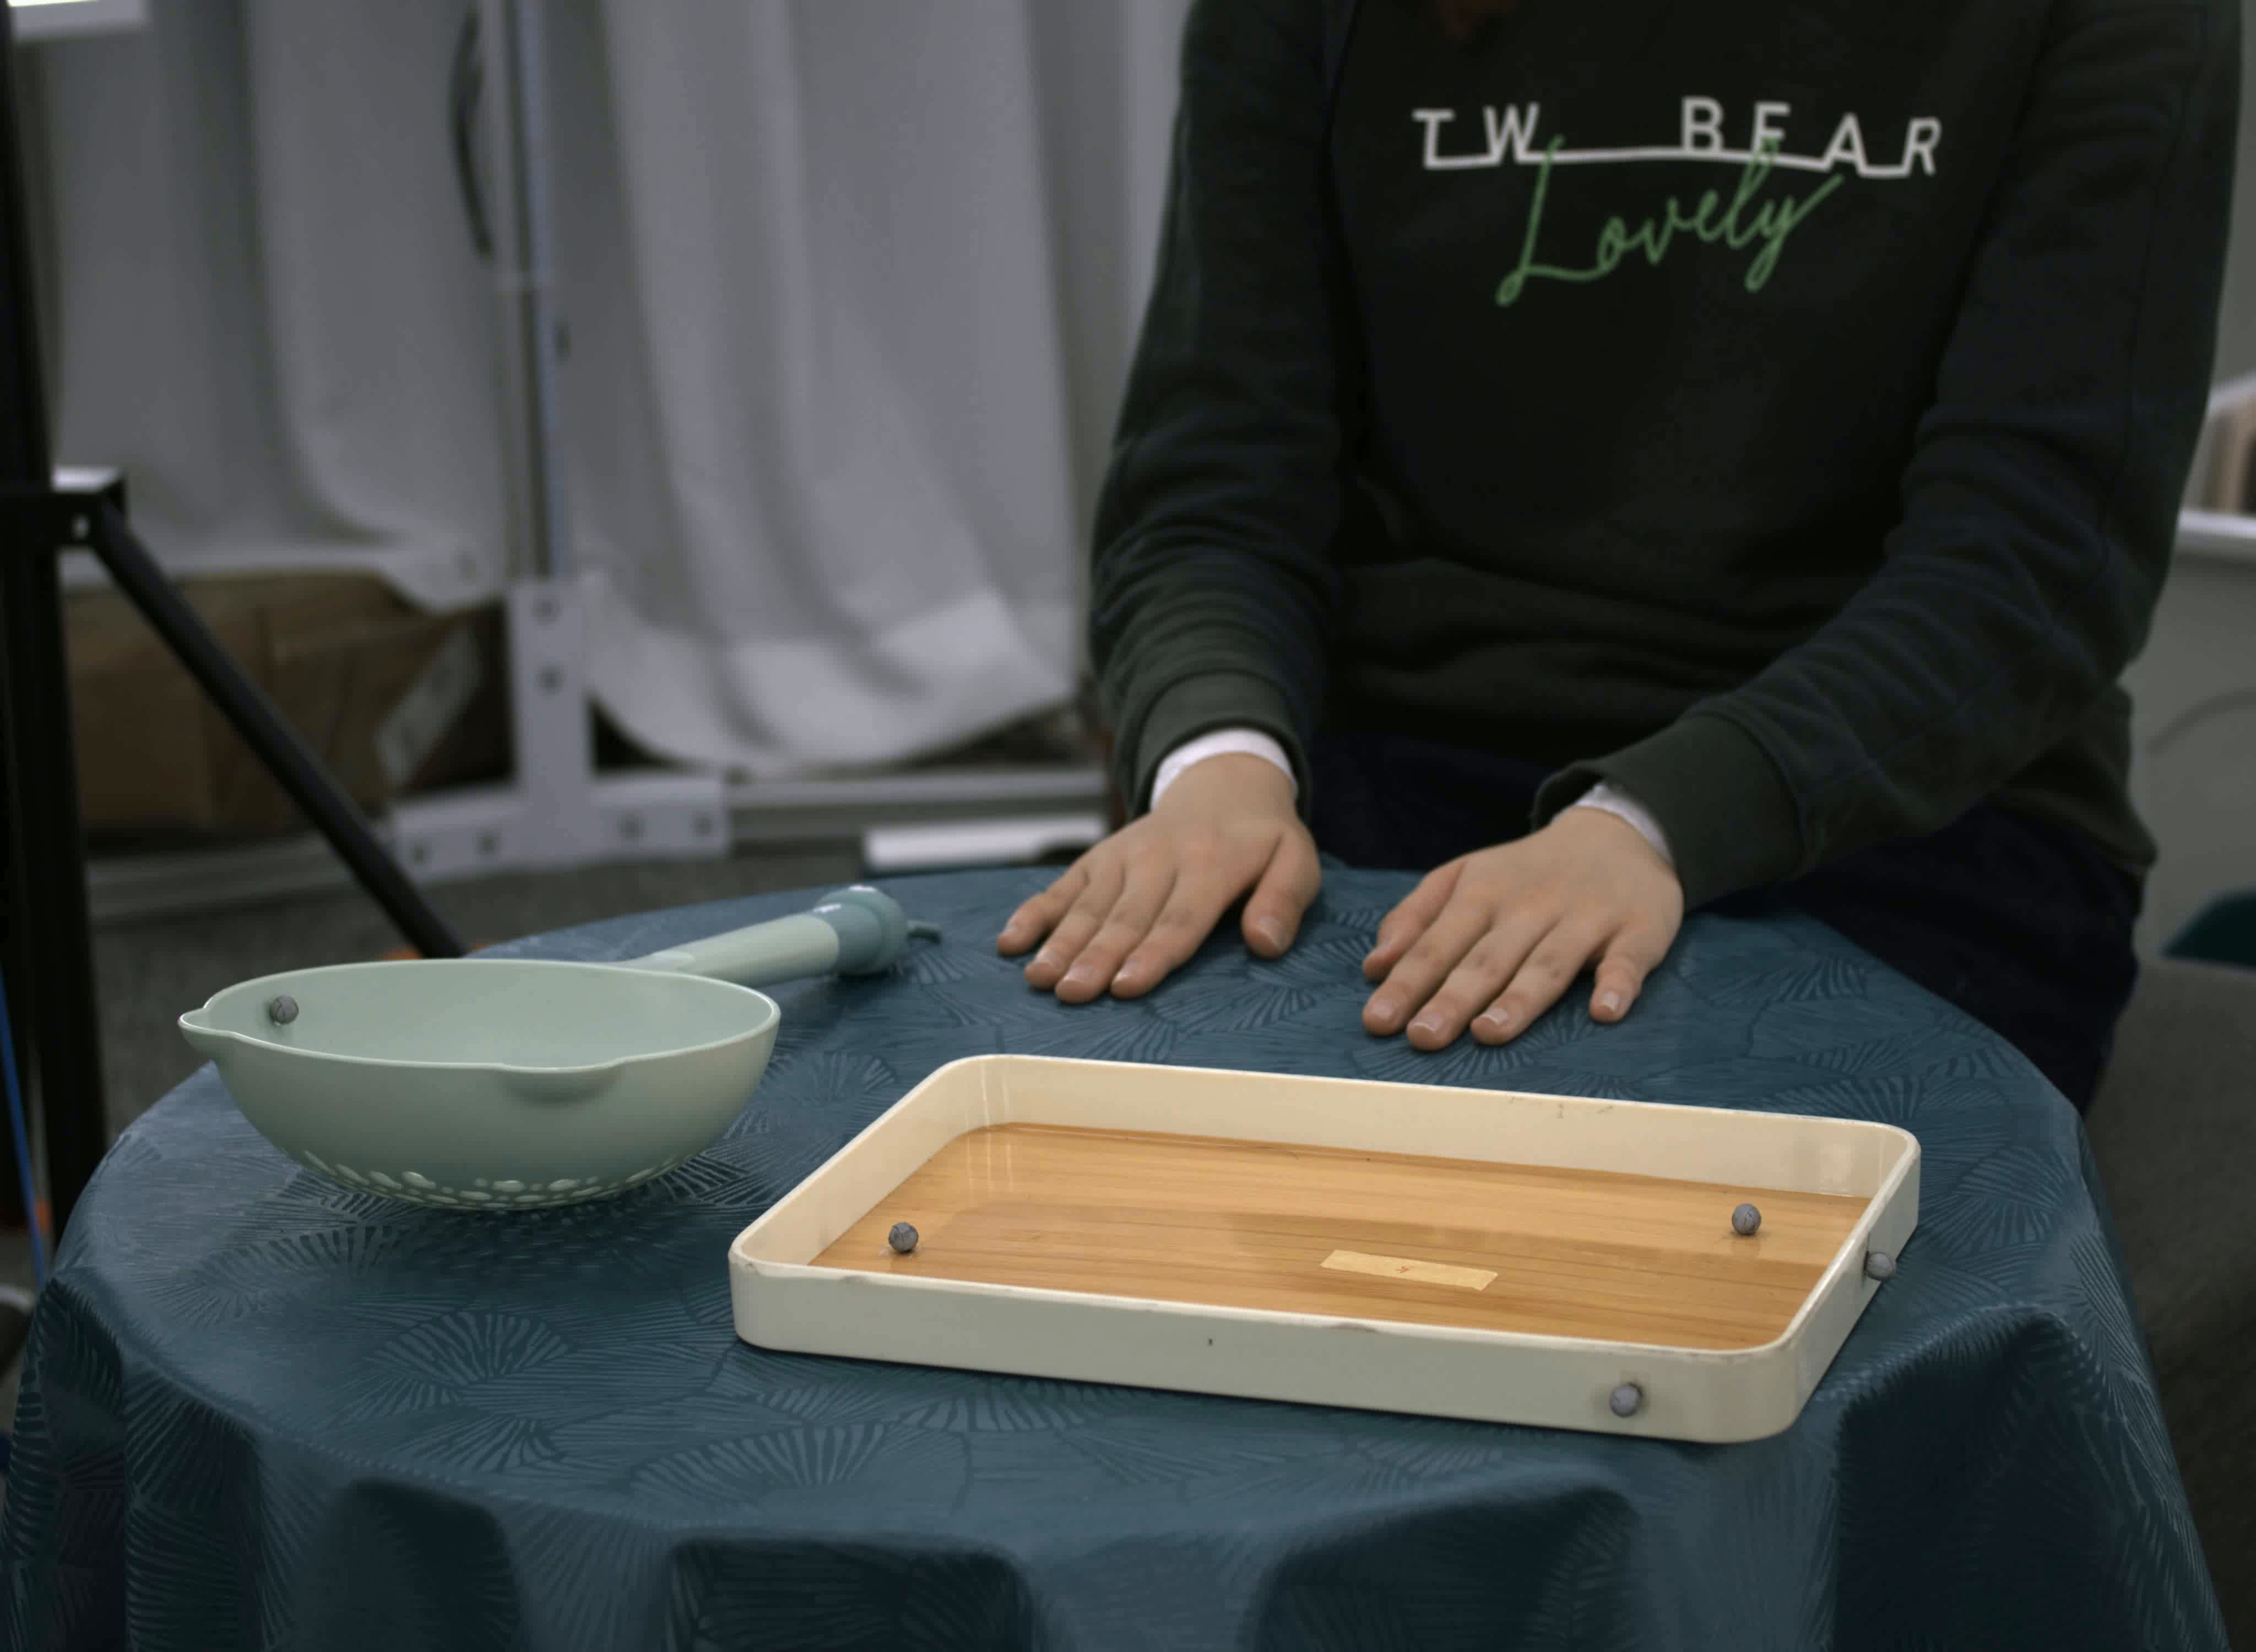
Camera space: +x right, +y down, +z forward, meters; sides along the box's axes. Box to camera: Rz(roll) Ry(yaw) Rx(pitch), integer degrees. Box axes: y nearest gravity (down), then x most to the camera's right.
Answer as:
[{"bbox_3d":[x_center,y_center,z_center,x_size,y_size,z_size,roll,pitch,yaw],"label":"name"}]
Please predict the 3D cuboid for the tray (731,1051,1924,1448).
[{"bbox_3d":[0.059,0.115,1.477,0.304,0.027,0.189,4,17,21],"label":"tray"}]

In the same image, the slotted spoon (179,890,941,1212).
[{"bbox_3d":[-0.146,0.054,1.655,0.172,0.075,0.353,6,18,25],"label":"slotted spoon"}]
